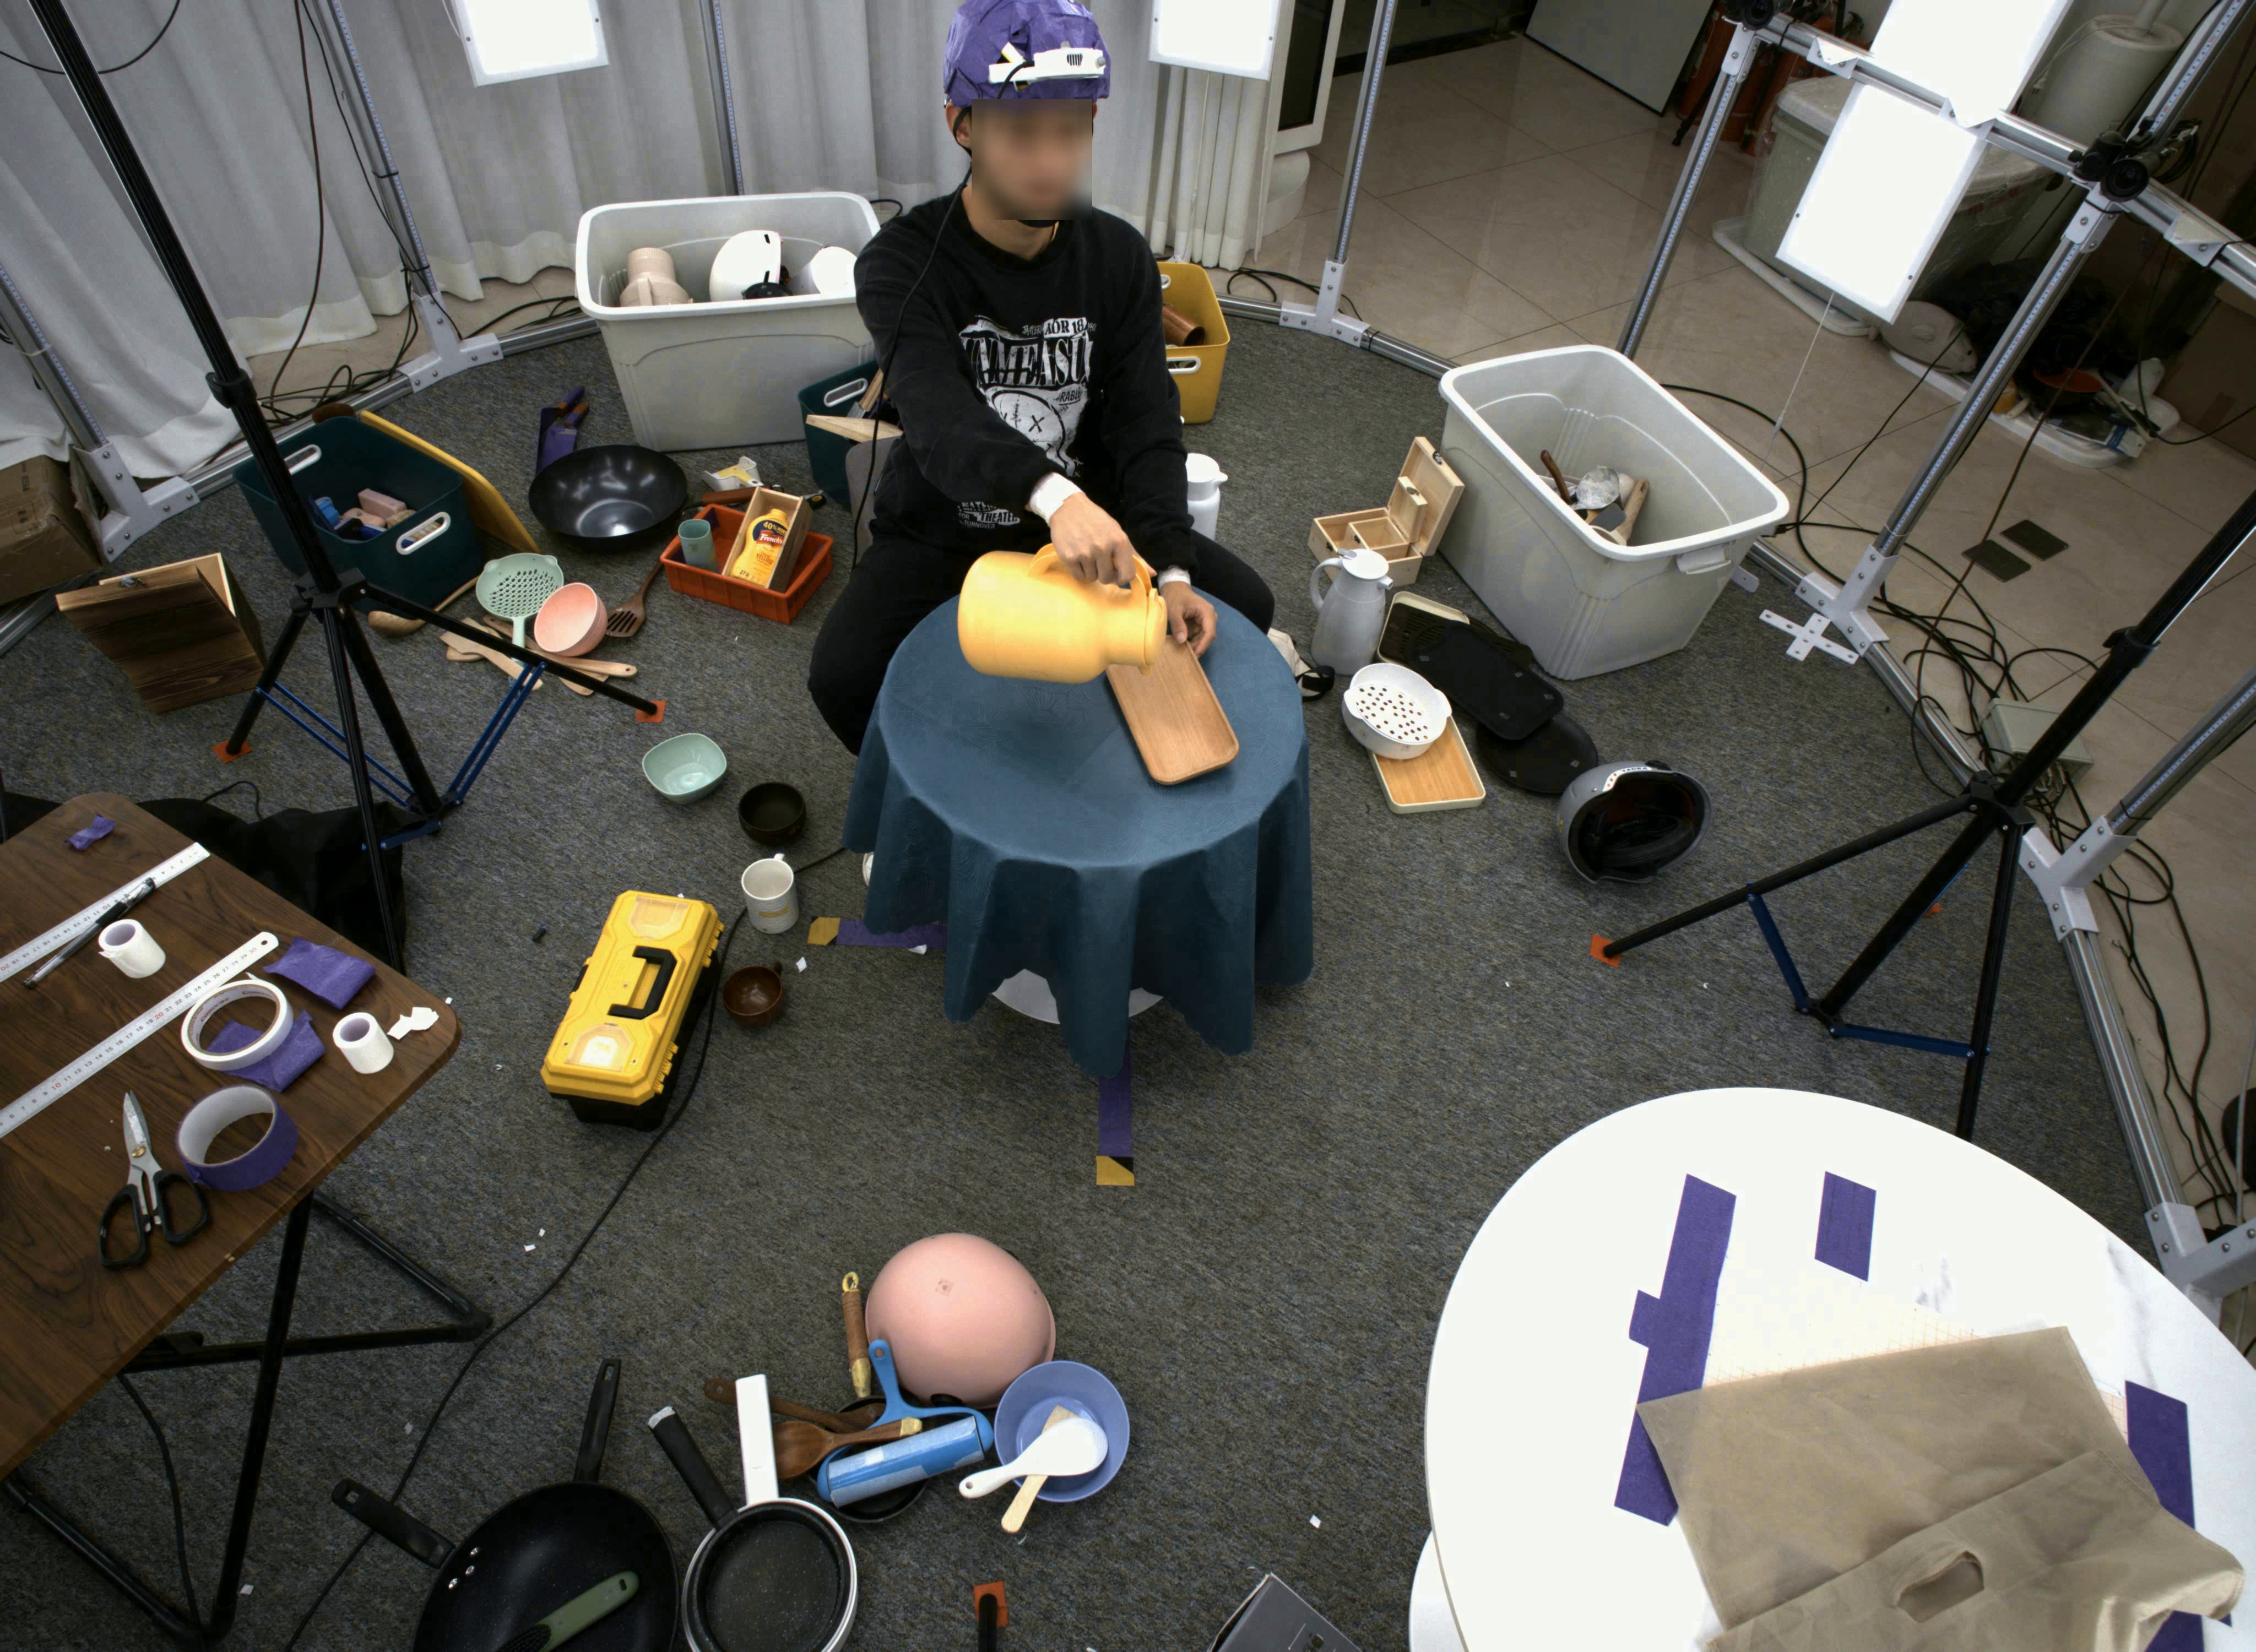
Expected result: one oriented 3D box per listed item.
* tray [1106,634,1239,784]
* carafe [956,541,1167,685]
[{"bbox_3d":[0.059,-0.166,1.786,0.130,0.022,0.257,-17,53,-4],"label":"tray"},{"bbox_3d":[-0.082,-0.278,1.648,0.261,0.197,0.167,6,47,10],"label":"carafe"}]
